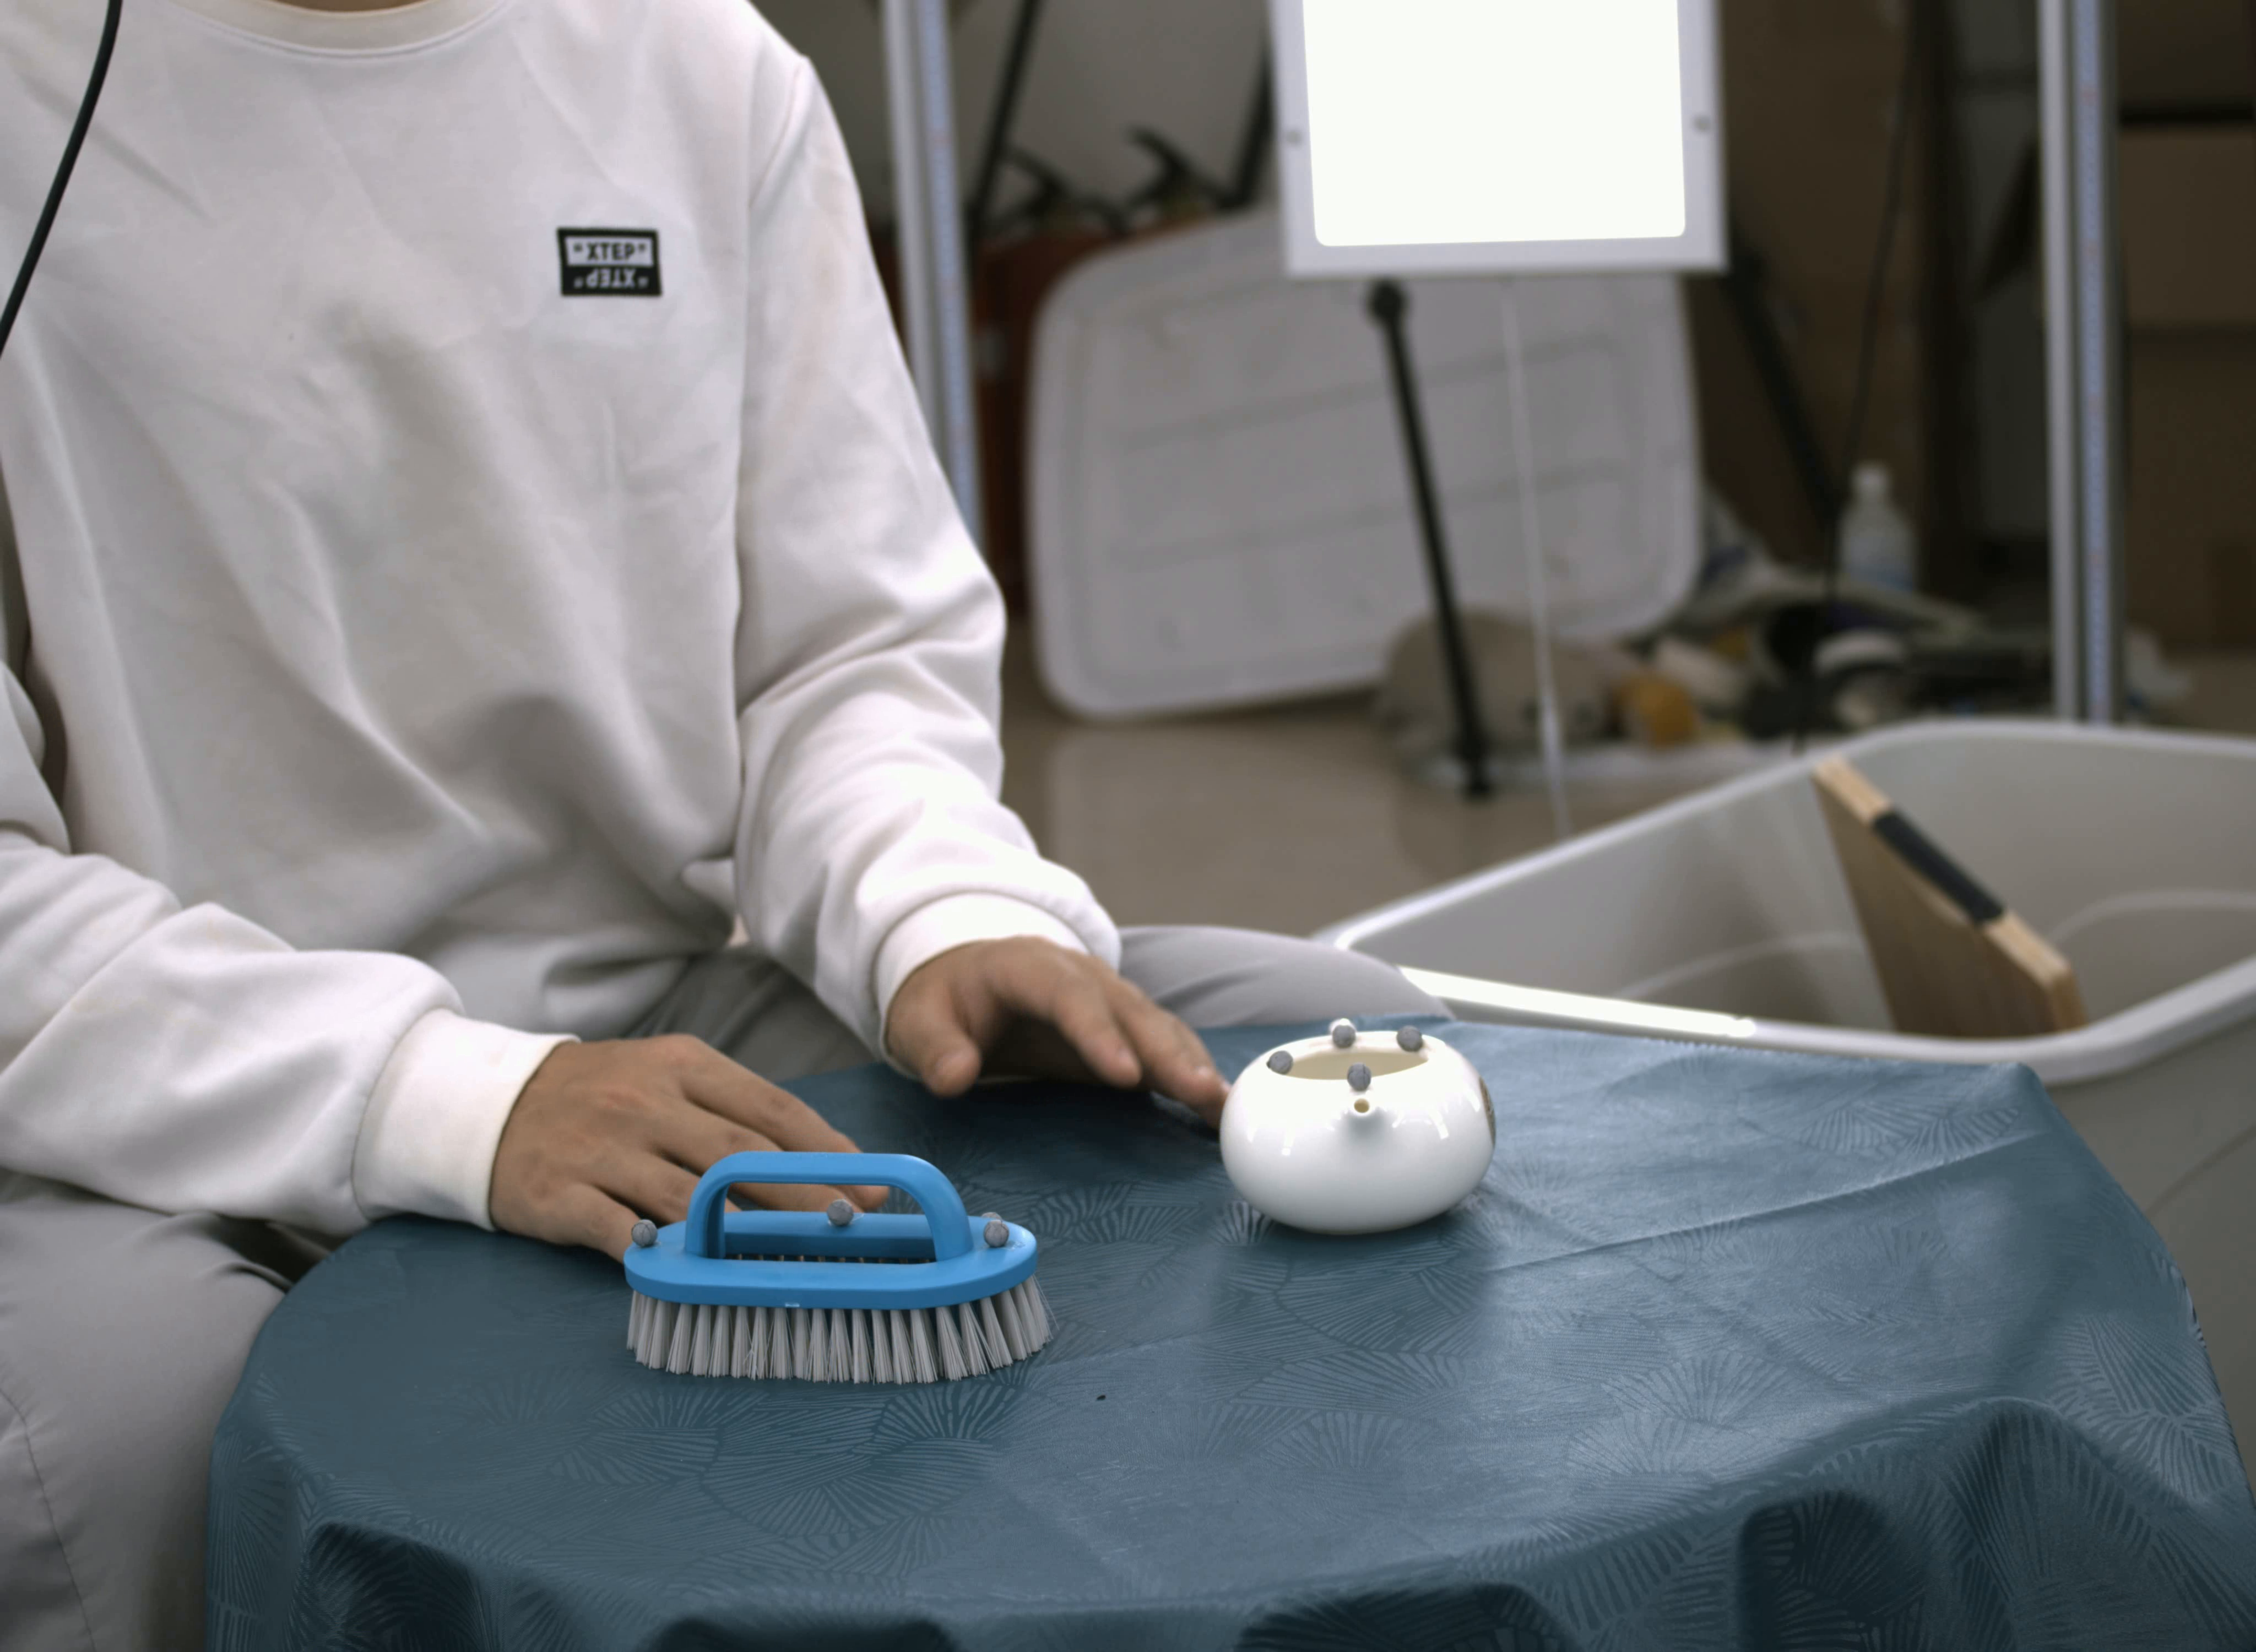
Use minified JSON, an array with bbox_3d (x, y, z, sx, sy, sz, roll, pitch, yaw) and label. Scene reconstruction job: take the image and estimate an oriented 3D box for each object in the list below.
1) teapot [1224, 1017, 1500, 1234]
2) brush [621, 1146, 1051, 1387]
[{"bbox_3d":[0.078,0.100,1.862,0.093,0.057,0.127,-10,13,-4],"label":"teapot"},{"bbox_3d":[-0.097,0.134,1.764,0.144,0.064,0.083,0,19,21],"label":"brush"}]
